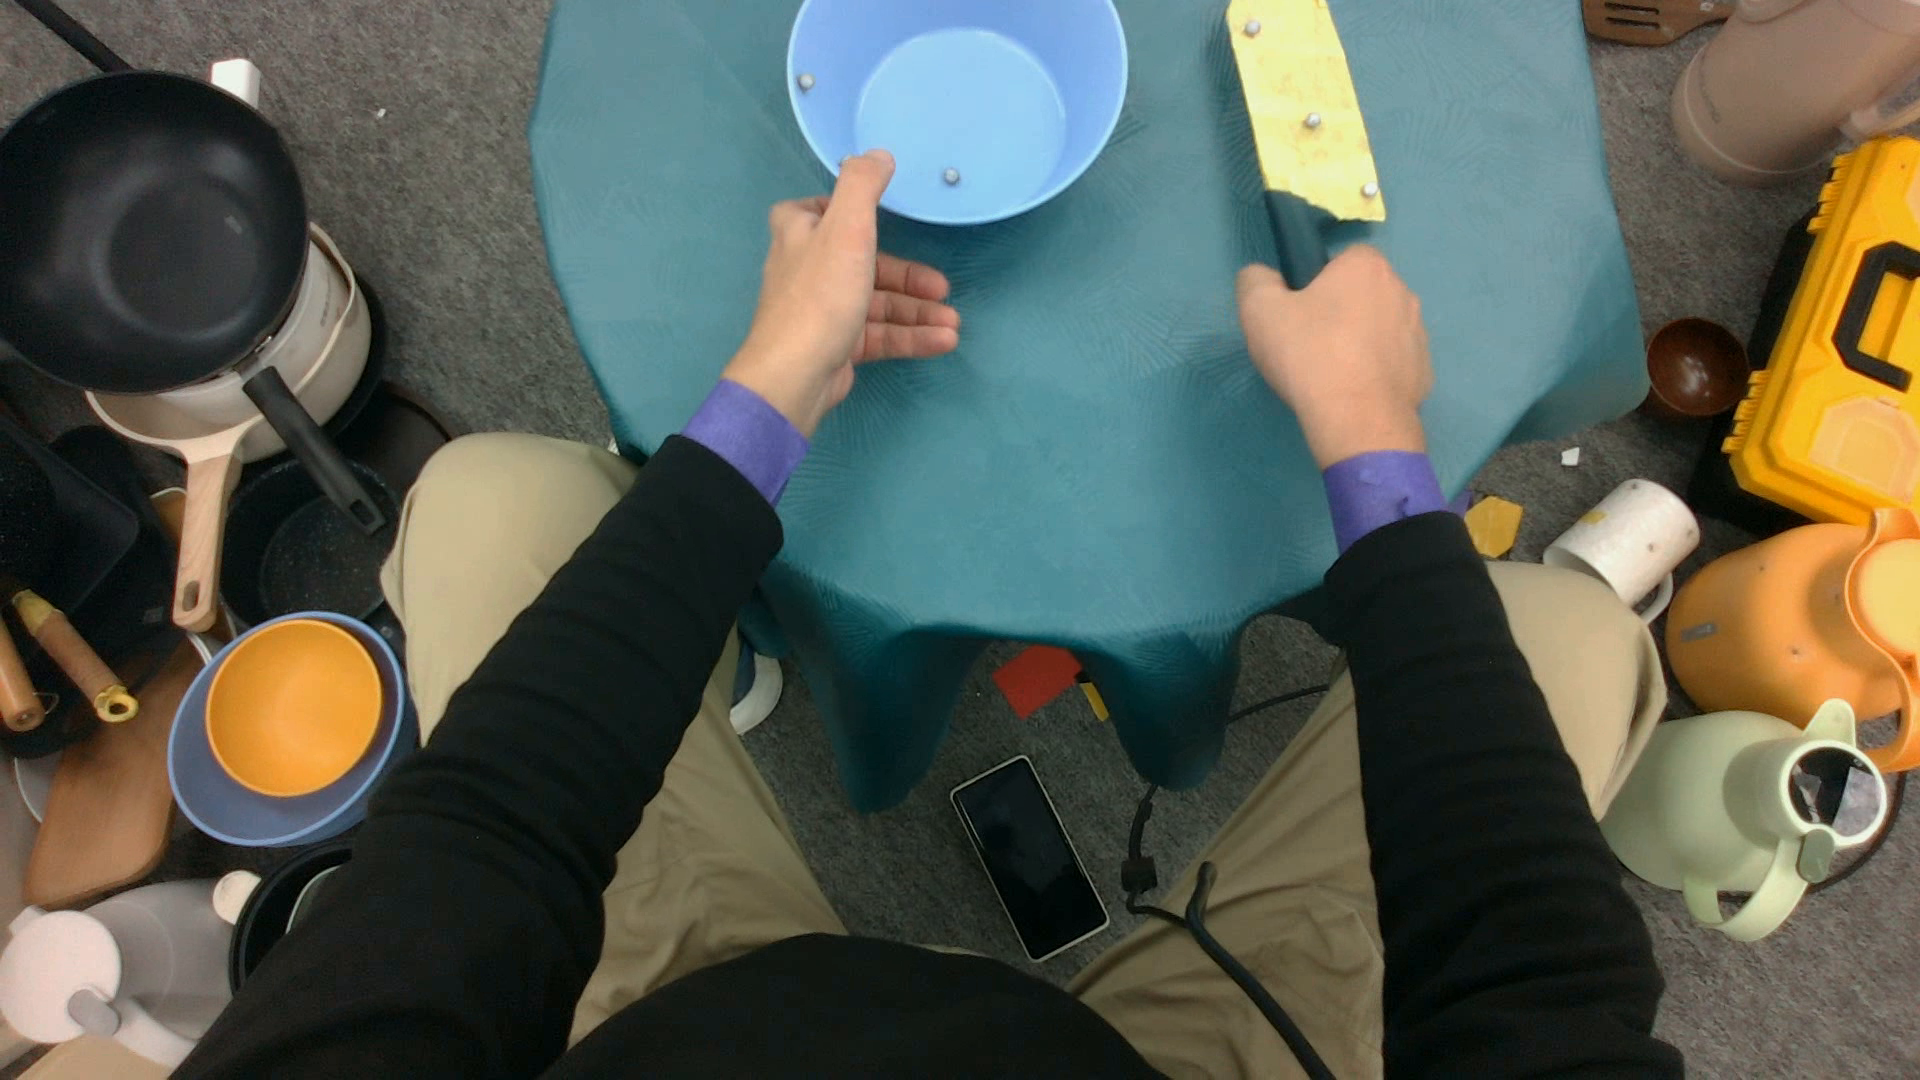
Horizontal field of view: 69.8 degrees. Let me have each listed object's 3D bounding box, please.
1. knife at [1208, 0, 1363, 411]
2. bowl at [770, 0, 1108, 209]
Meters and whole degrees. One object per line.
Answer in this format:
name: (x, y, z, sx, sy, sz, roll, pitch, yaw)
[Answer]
knife: (0.182, -0.204, 0.743, 0.081, 0.027, 0.290, 2, 71, -21)
bowl: (-0.011, -0.247, 0.744, 0.176, 0.070, 0.176, 0, 77, 0)
